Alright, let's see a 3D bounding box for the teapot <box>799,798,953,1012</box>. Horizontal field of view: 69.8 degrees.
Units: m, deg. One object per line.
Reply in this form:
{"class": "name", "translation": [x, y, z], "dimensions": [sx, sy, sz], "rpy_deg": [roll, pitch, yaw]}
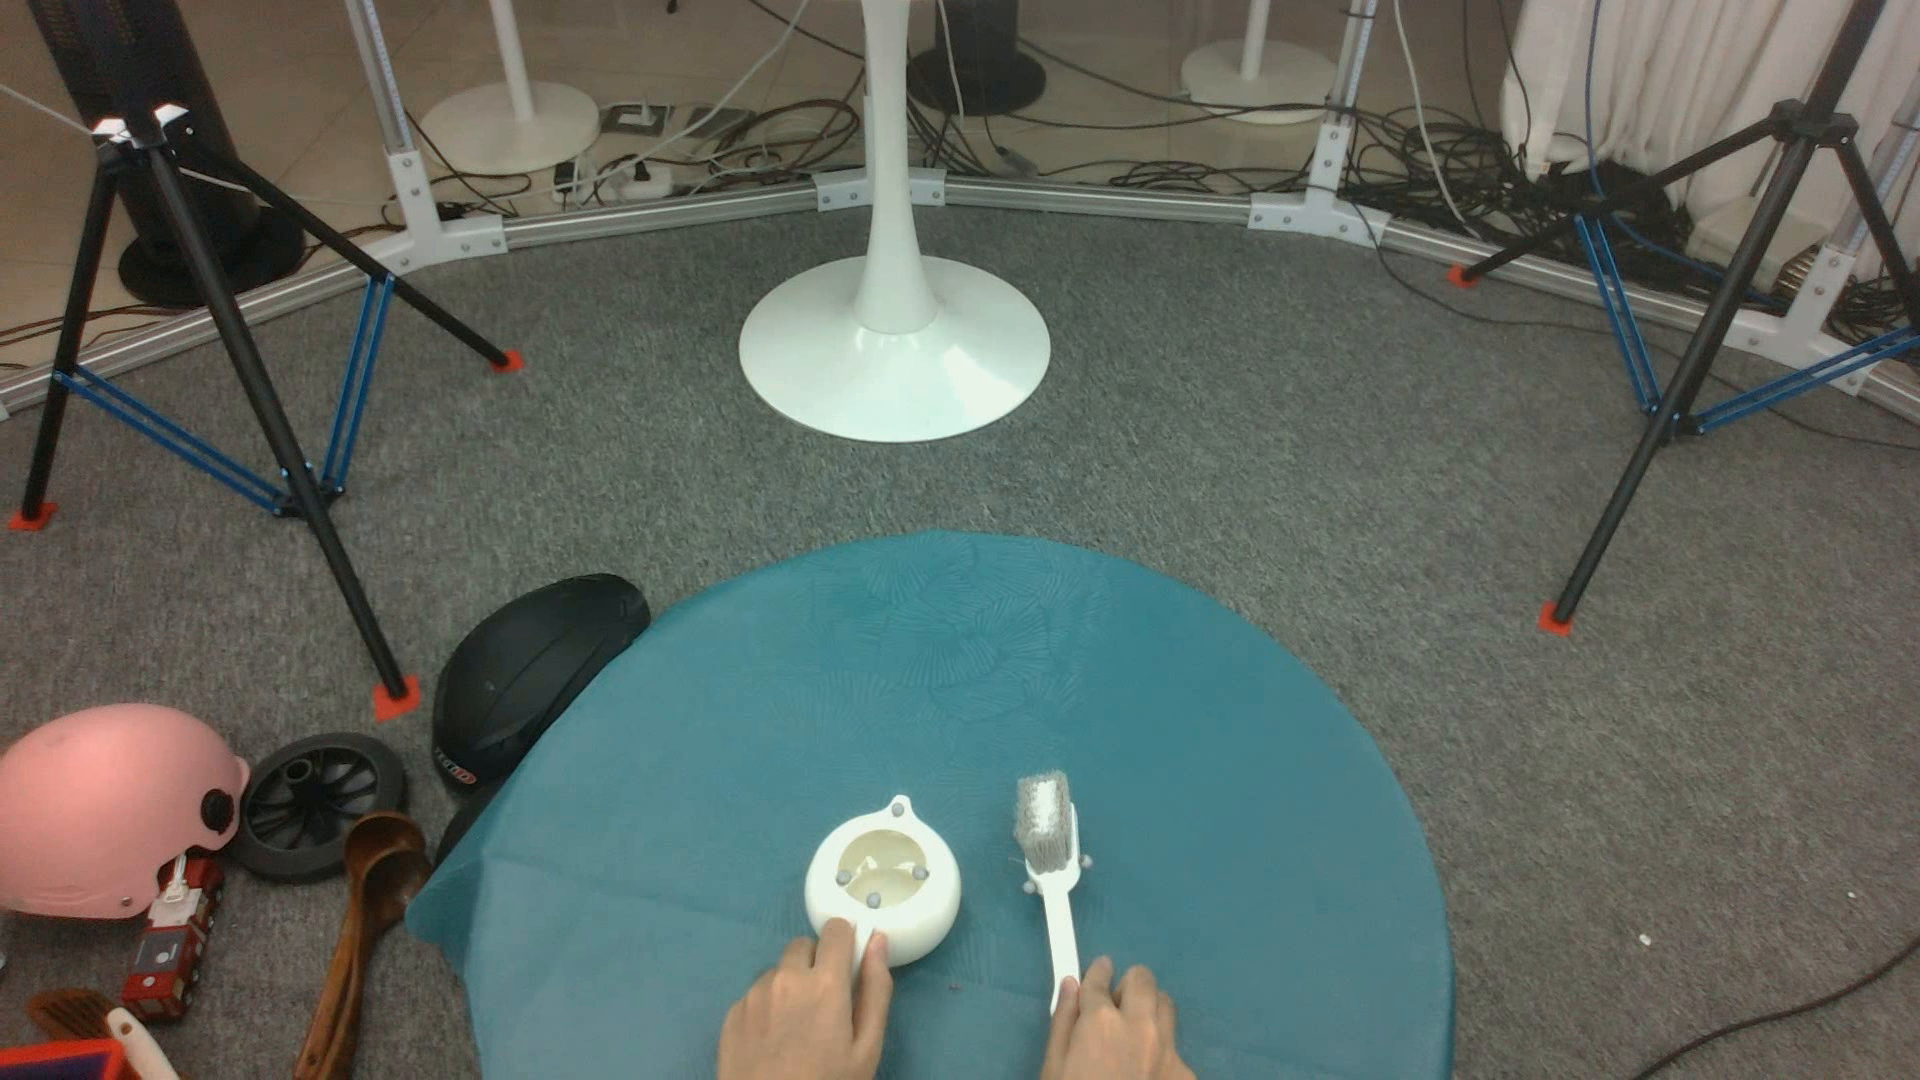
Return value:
{"class": "teapot", "translation": [-0.052, 0.220, 0.828], "dimensions": [0.093, 0.056, 0.128], "rpy_deg": [10, 47, 1]}

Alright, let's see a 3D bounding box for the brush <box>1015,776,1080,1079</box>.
{"class": "brush", "translation": [0.053, 0.245, 0.807], "dimensions": [0.034, 0.050, 0.245], "rpy_deg": [-7, 44, 8]}
